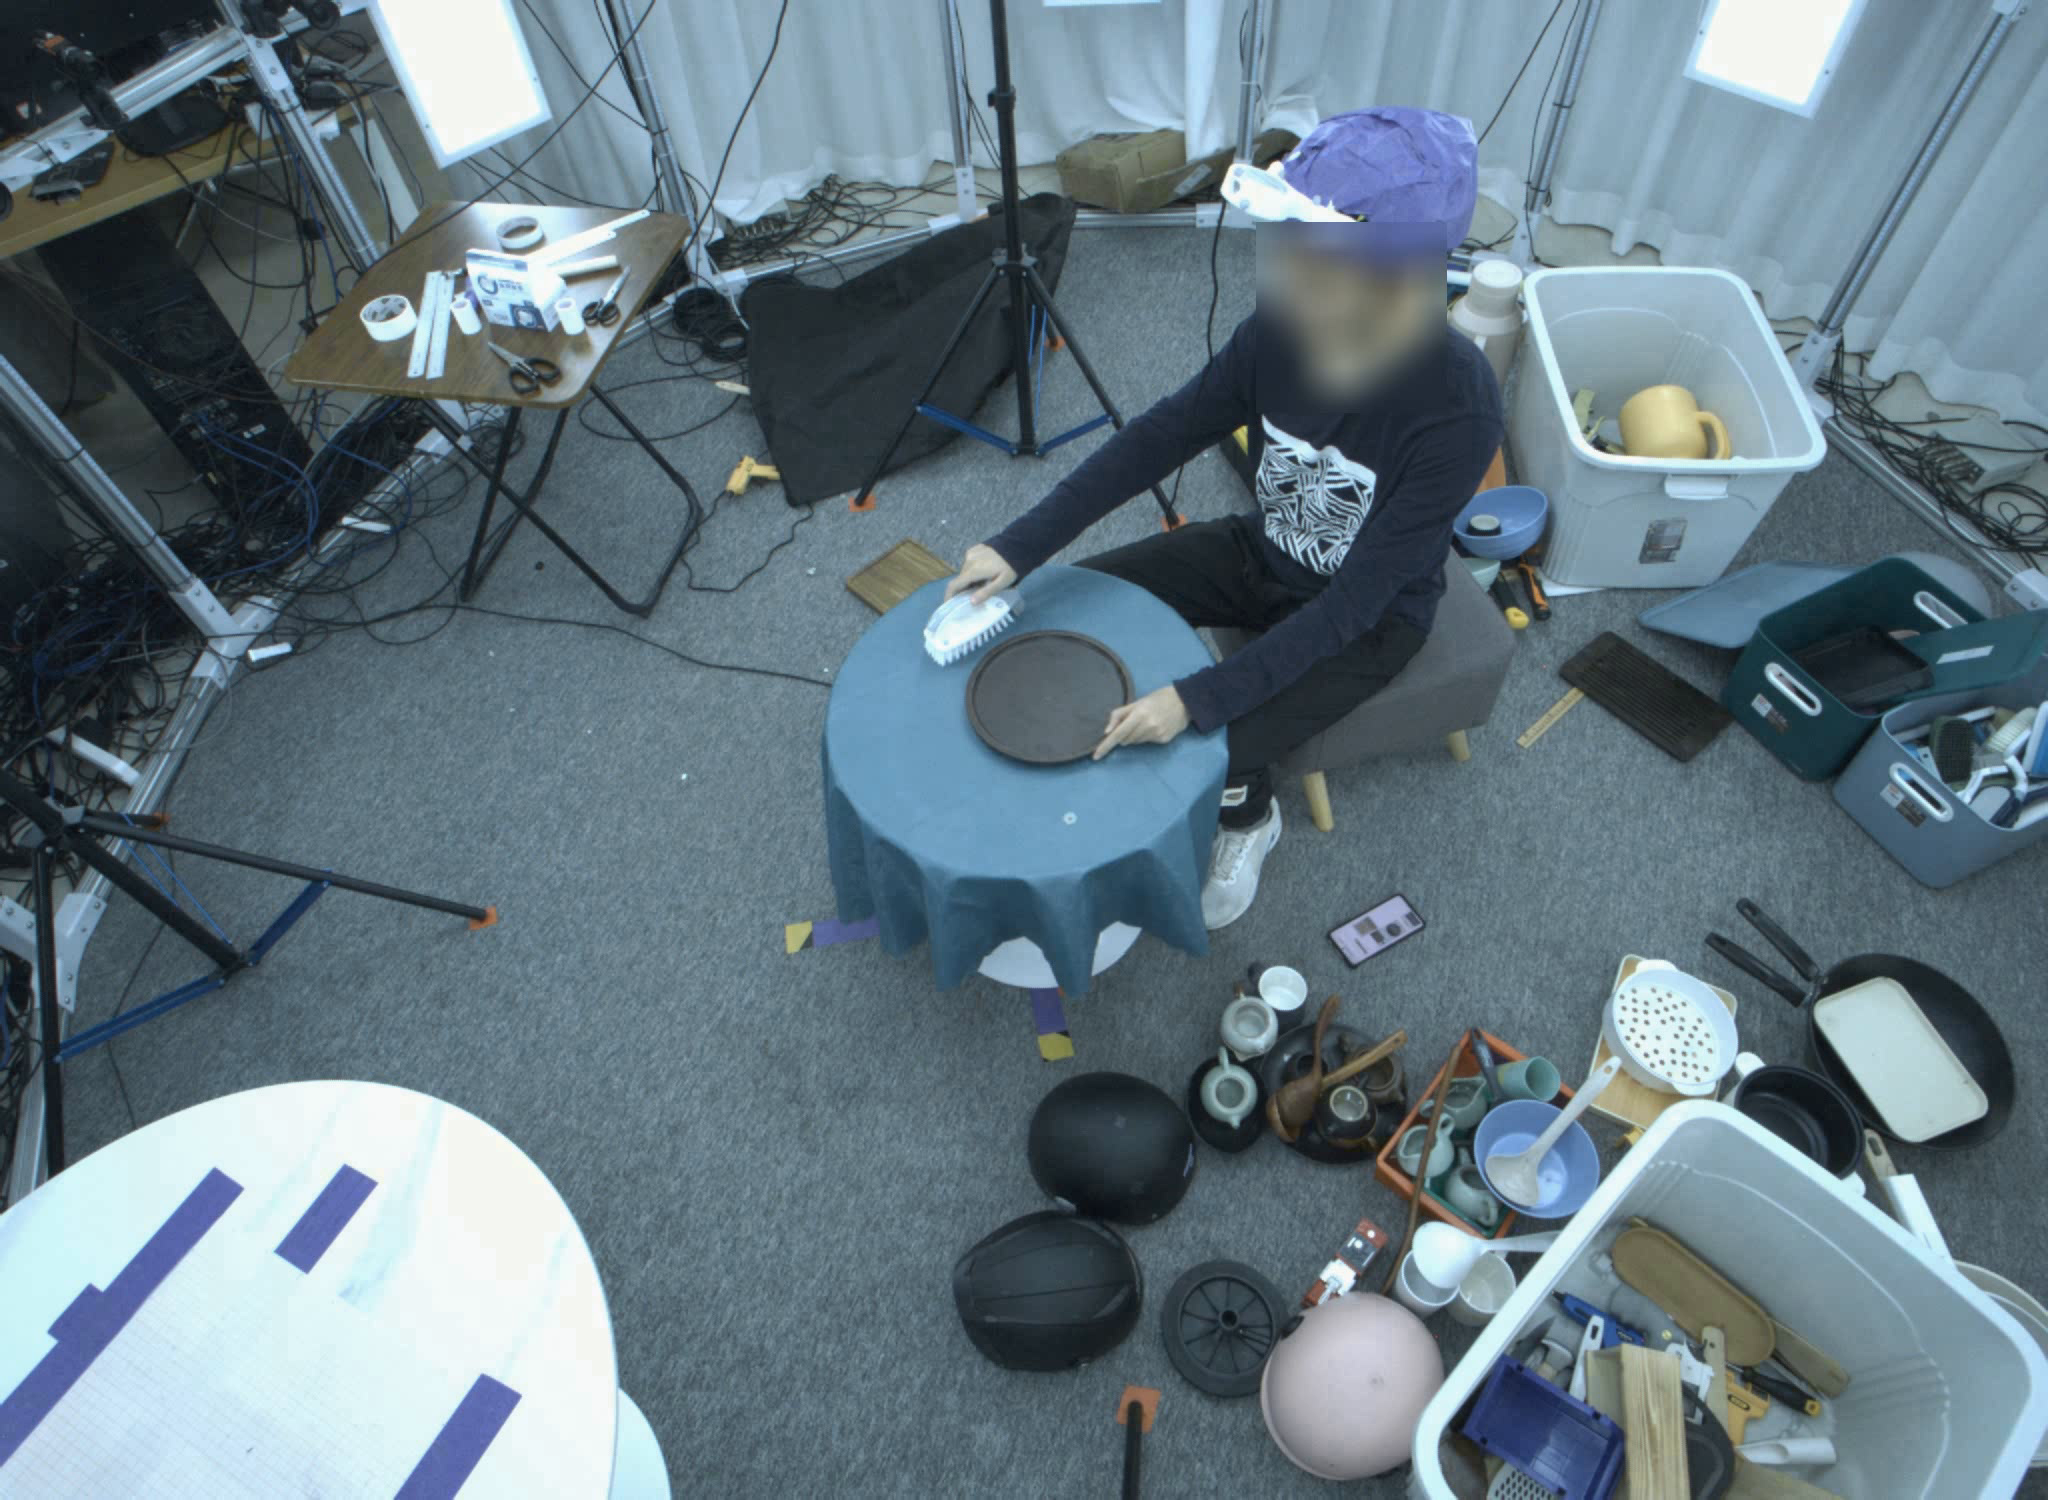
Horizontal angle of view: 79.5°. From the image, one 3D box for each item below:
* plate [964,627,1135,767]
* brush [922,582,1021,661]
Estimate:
[{"bbox_3d":[0.038,-0.080,1.821,0.254,0.029,0.252,-1,55,3],"label":"plate"},{"bbox_3d":[-0.076,-0.215,1.879,0.177,0.095,0.060,-32,61,-21],"label":"brush"}]
